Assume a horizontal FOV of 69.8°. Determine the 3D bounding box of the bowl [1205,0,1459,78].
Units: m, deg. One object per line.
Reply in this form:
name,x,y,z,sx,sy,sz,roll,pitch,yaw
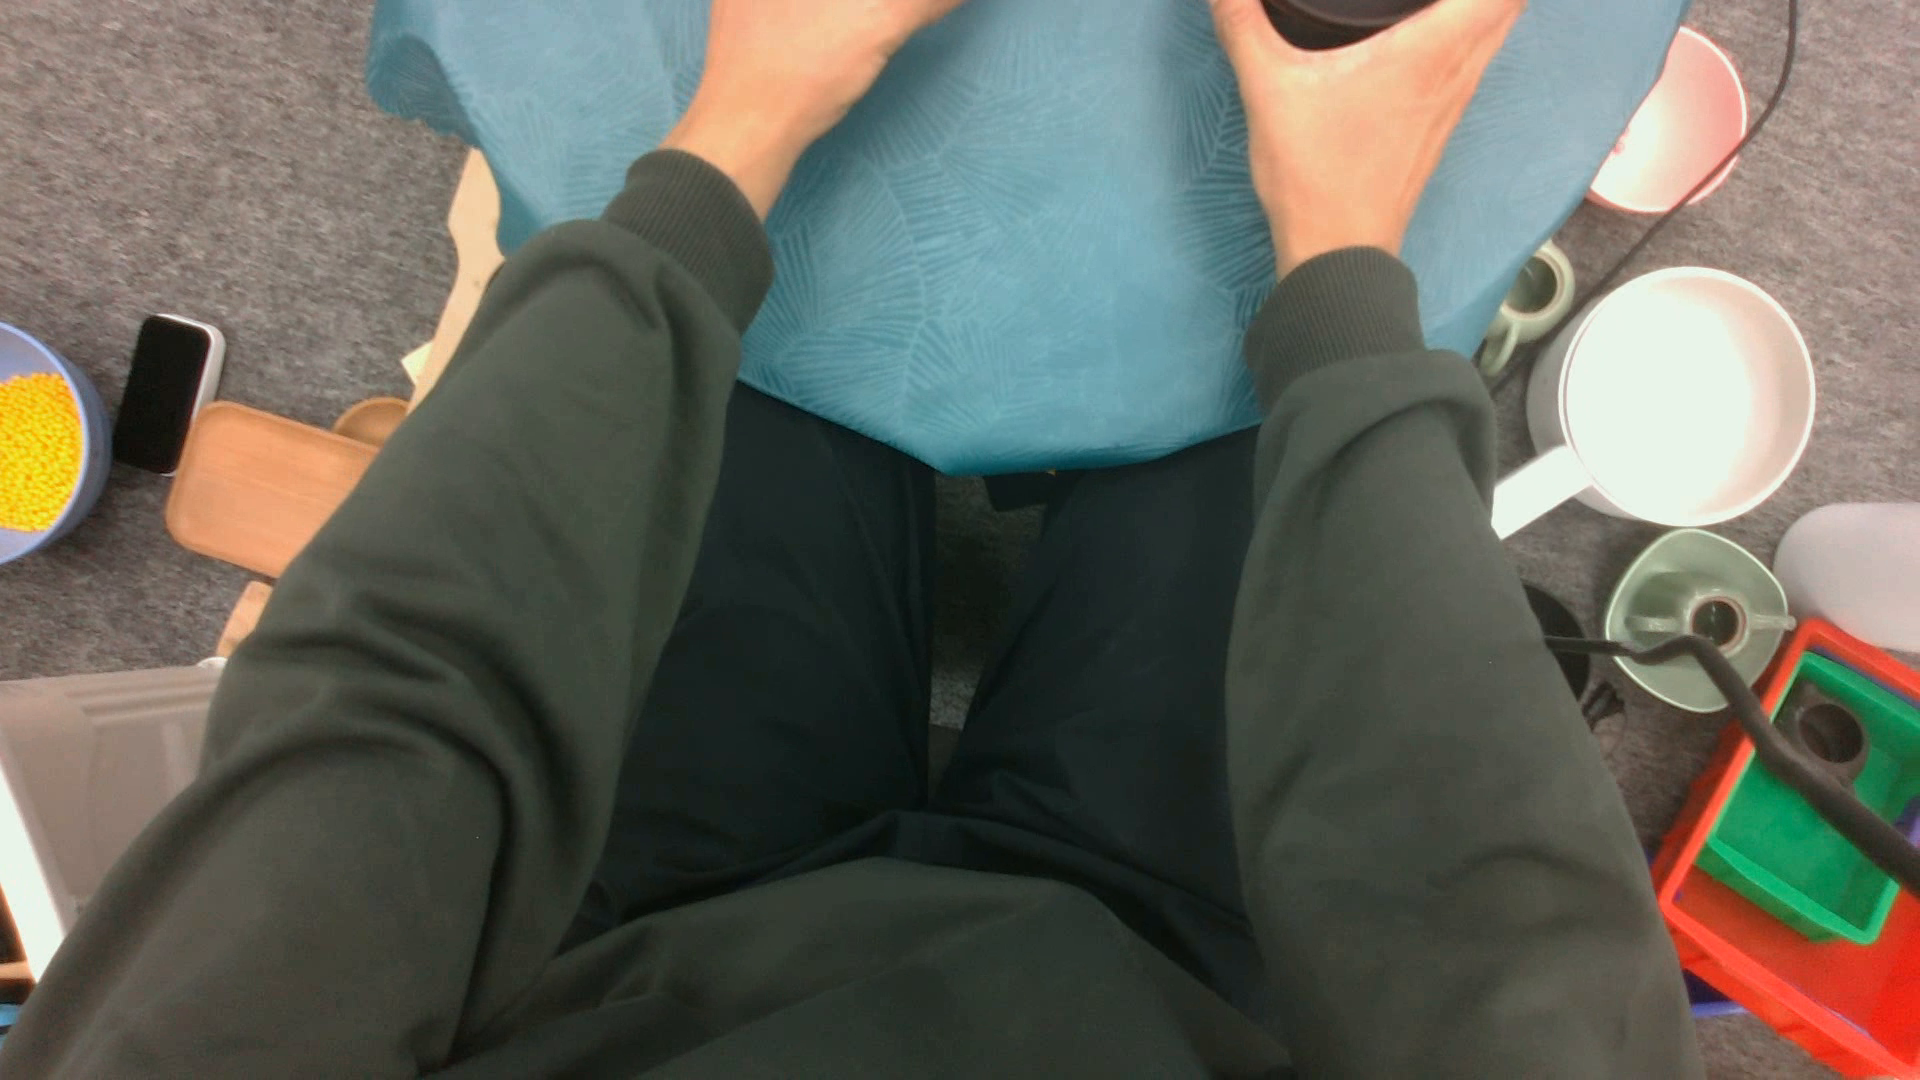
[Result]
bowl,0.157,-0.254,0.589,0.118,0.070,0.118,0,88,1
